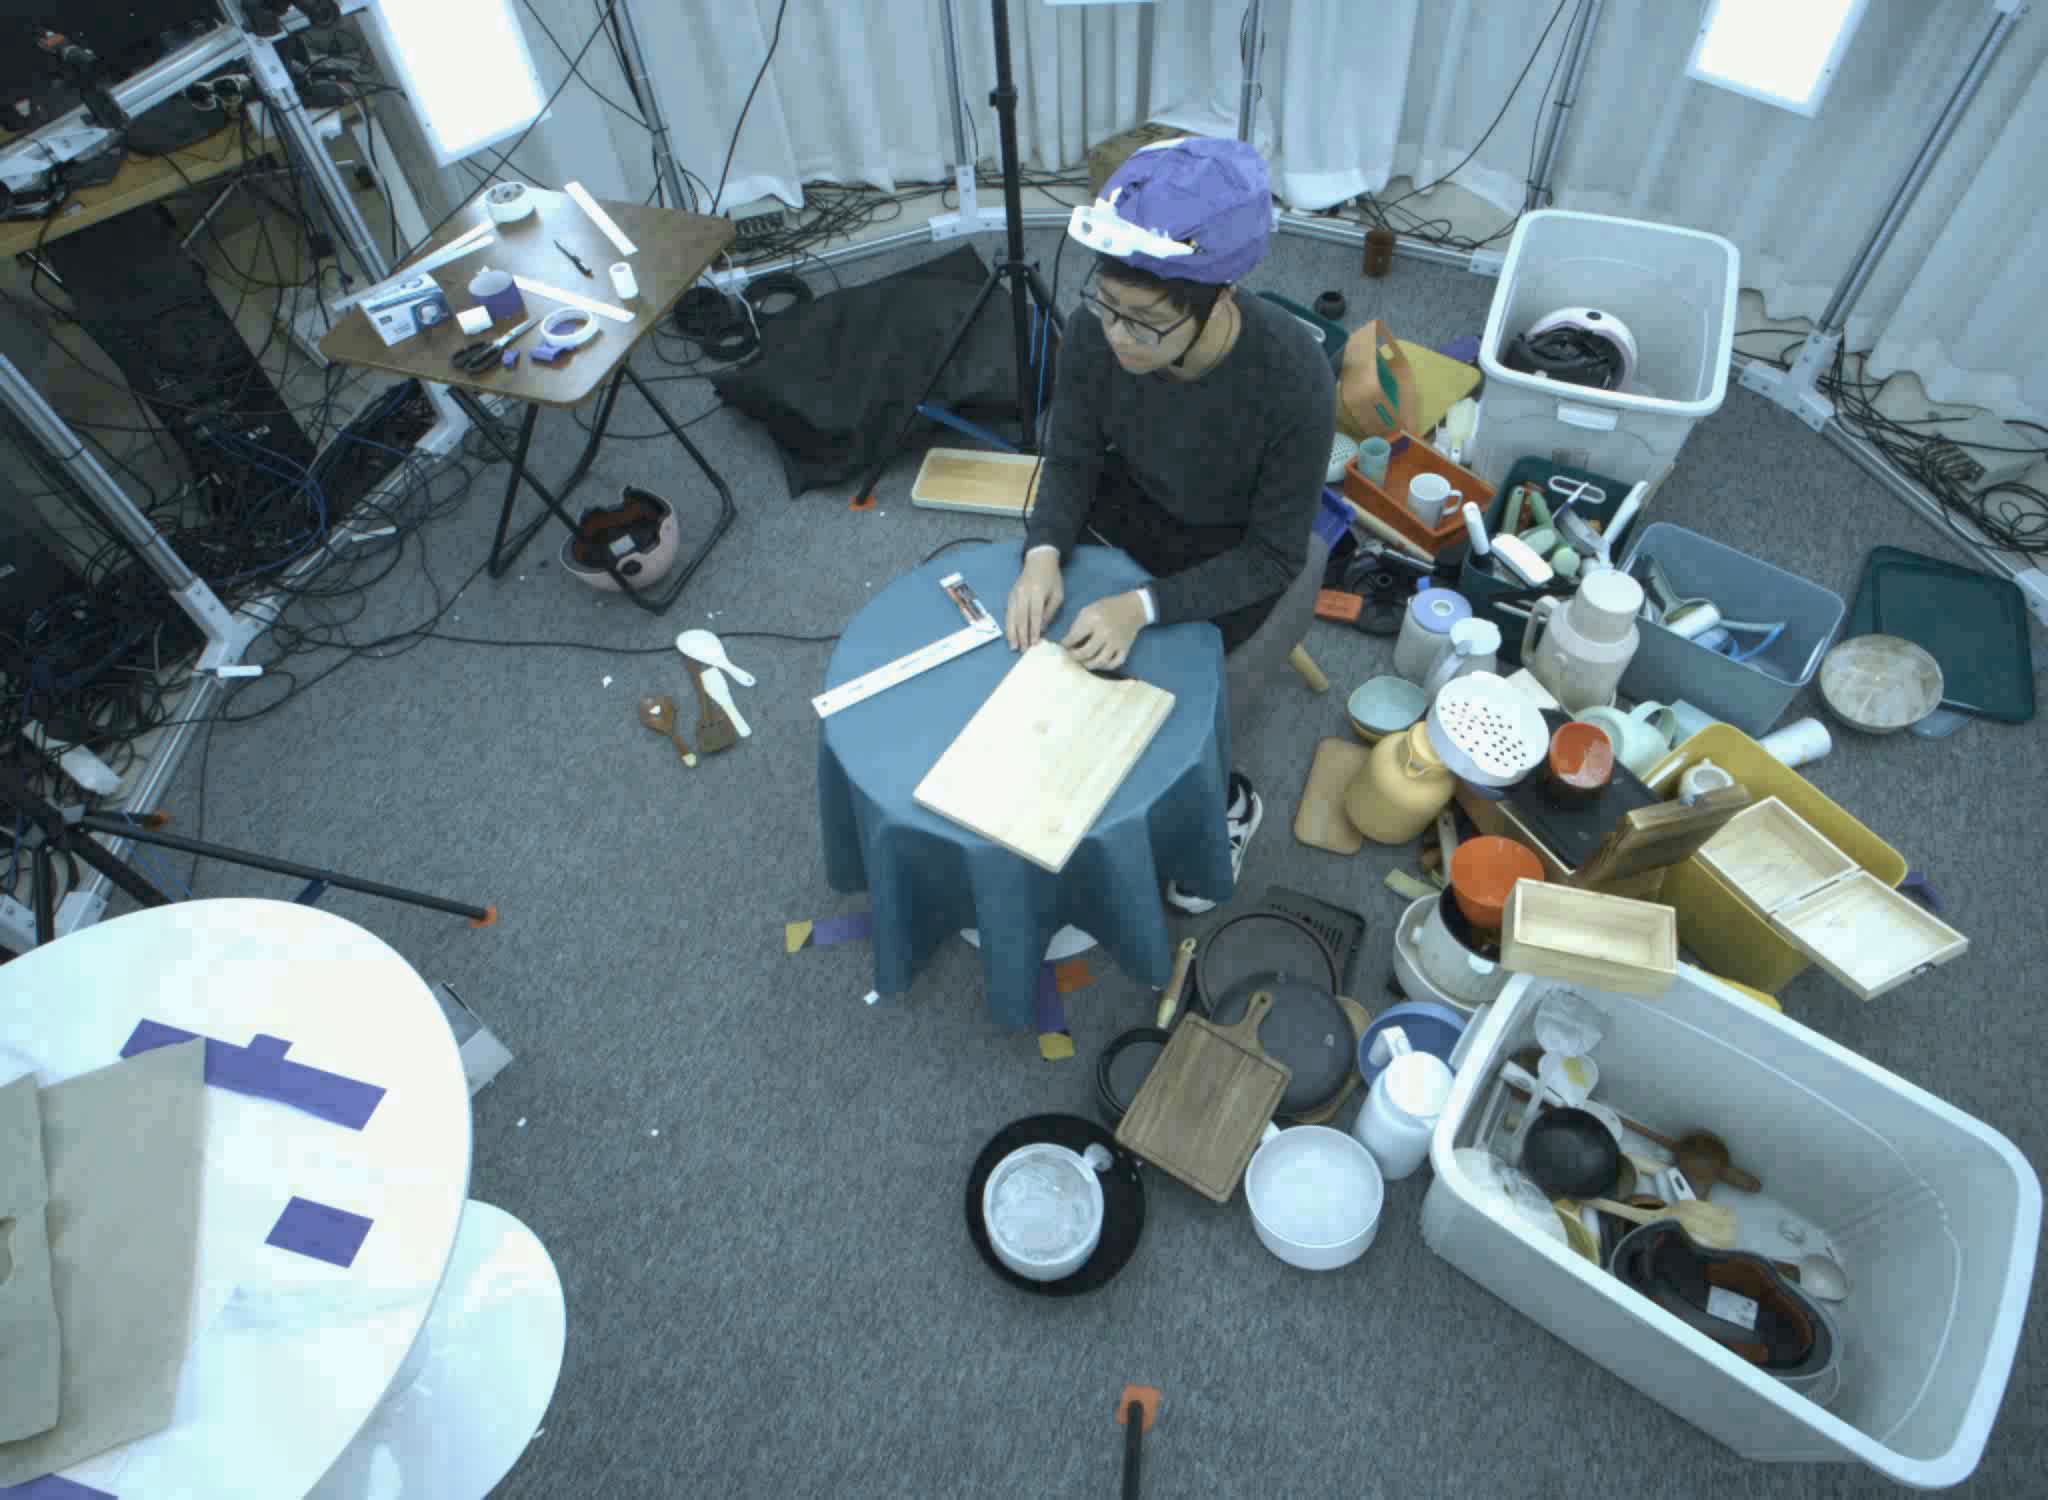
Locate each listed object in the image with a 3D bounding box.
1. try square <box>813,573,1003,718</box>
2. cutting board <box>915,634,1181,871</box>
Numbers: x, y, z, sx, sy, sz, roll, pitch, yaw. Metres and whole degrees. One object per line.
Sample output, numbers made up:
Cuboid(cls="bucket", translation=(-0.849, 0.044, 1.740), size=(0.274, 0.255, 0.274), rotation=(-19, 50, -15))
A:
Cuboid(cls="try square", translation=(-0.202, -0.167, 1.908), size=(0.315, 0.016, 0.149), rotation=(-26, 57, -15))
Cuboid(cls="cutting board", translation=(0.037, -0.007, 1.782), size=(0.247, 0.024, 0.349), rotation=(25, 59, 18))
